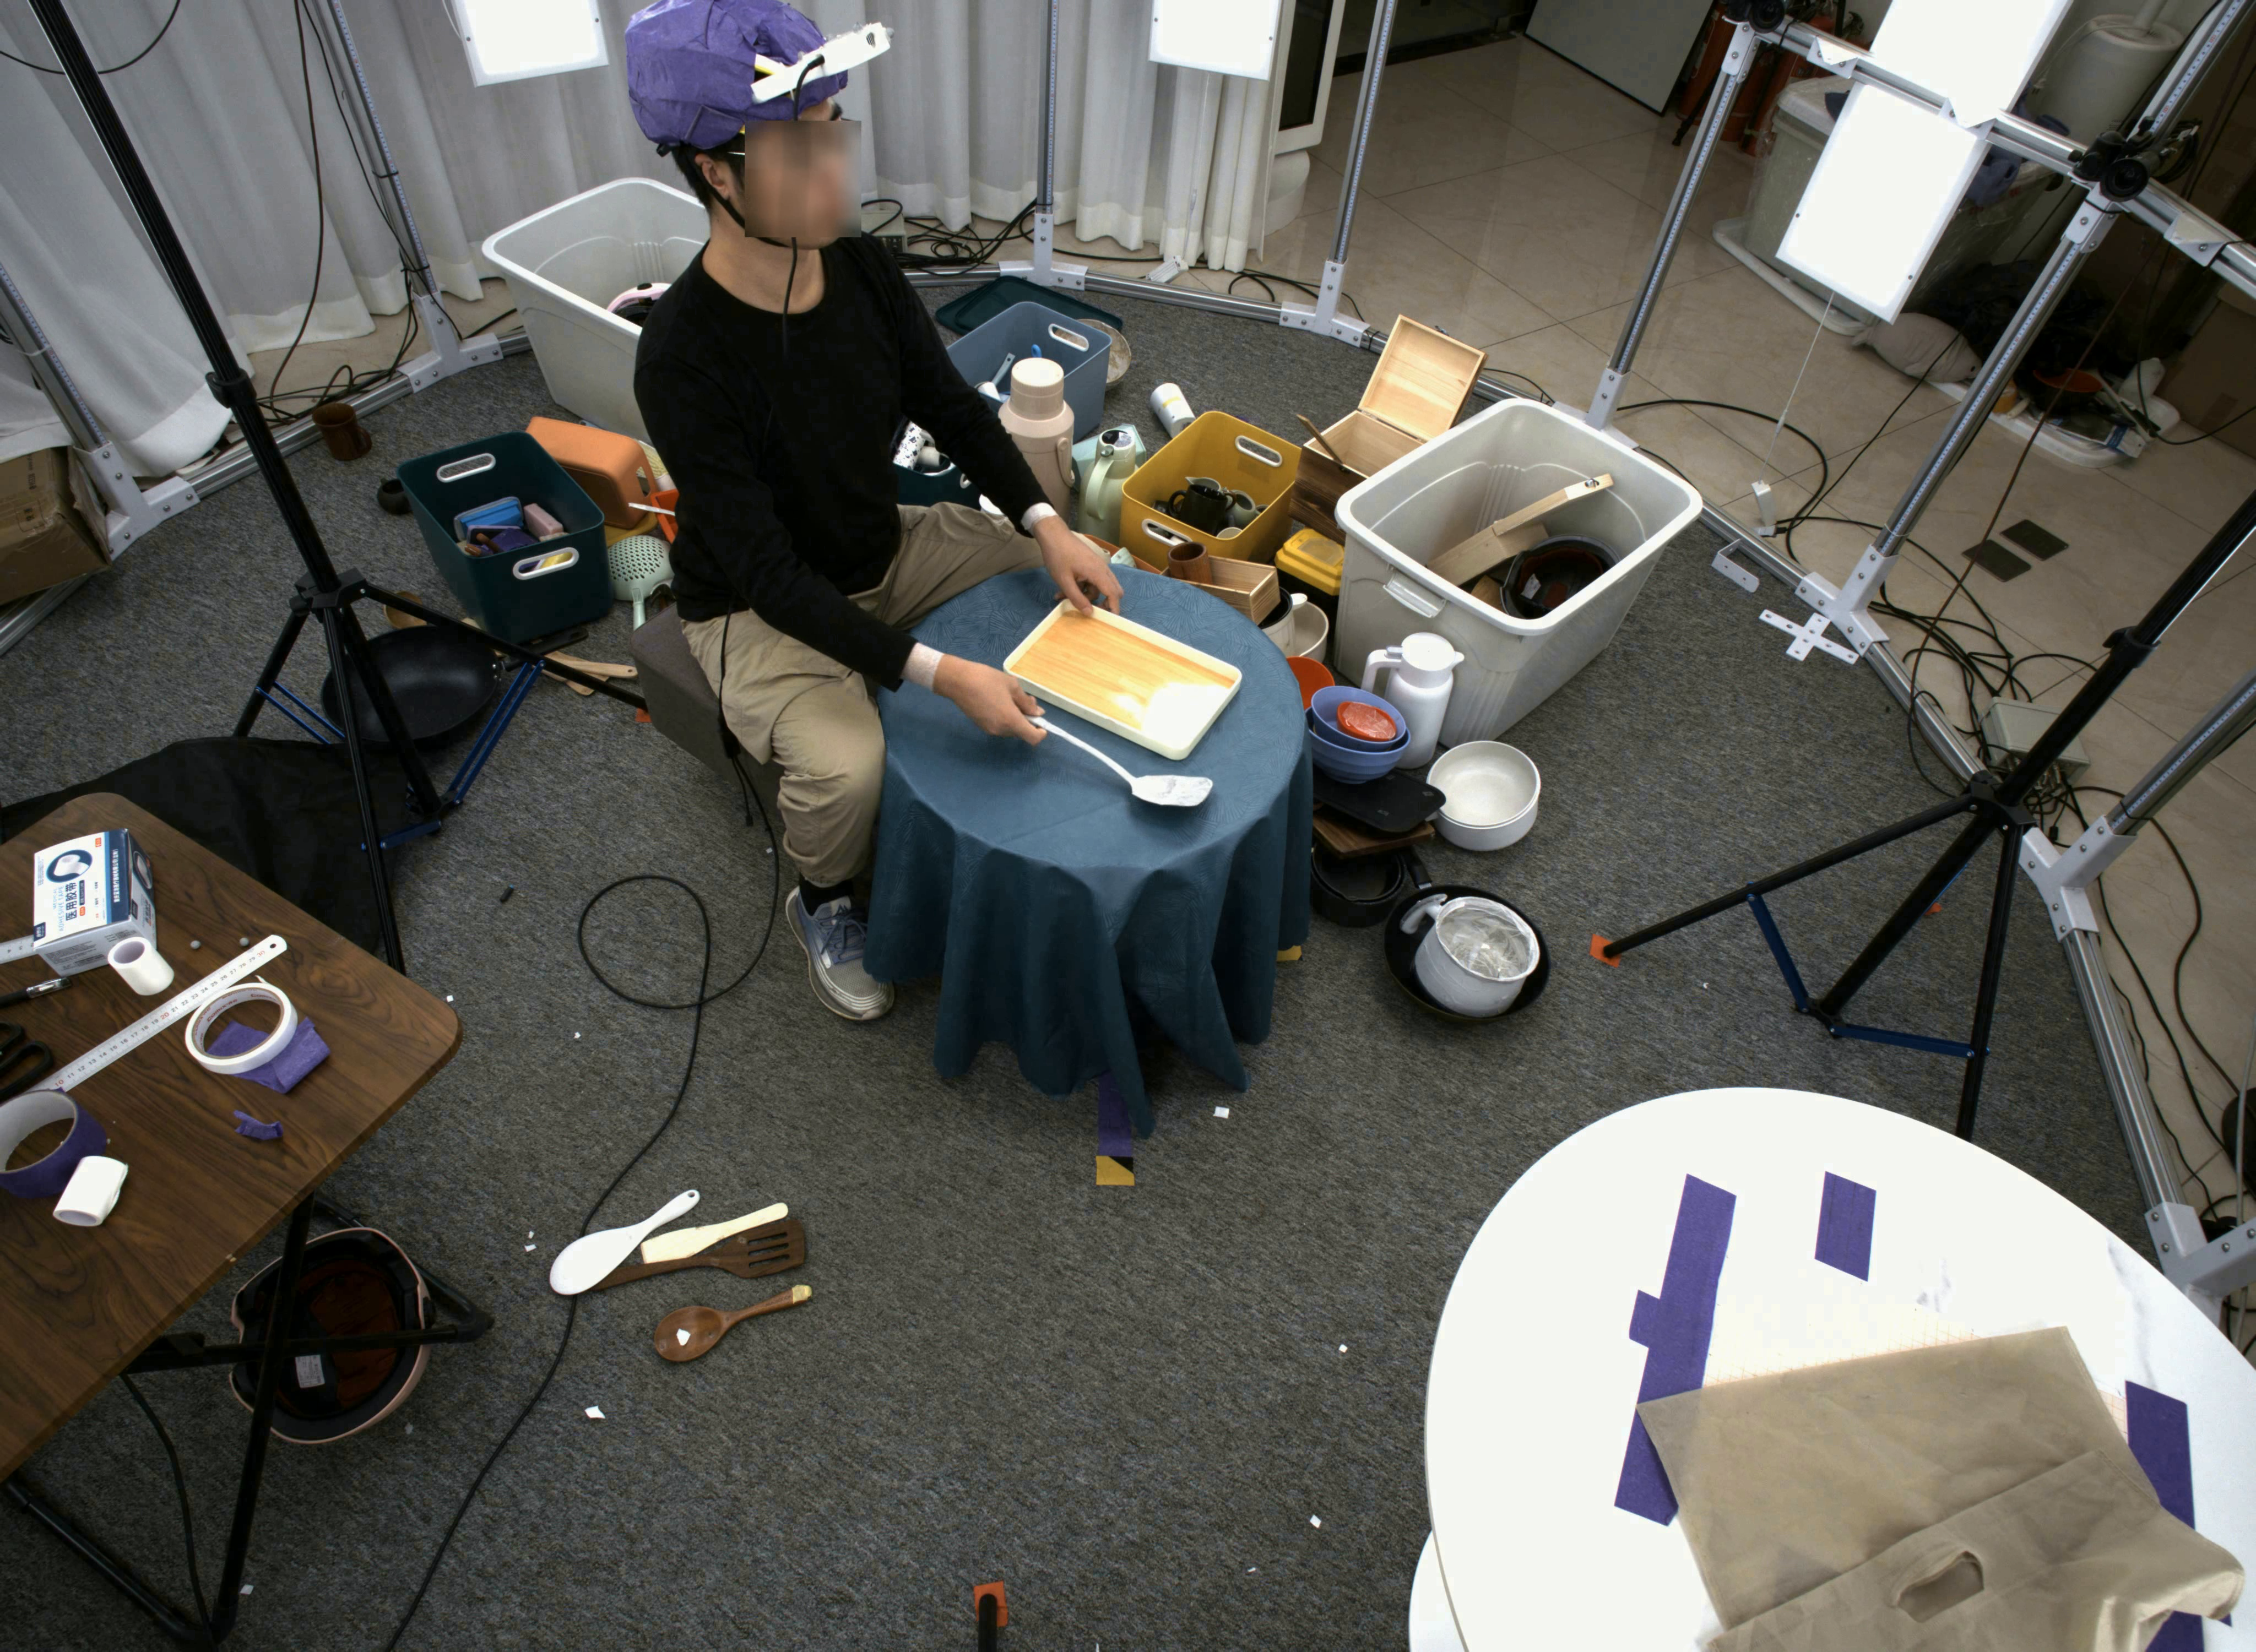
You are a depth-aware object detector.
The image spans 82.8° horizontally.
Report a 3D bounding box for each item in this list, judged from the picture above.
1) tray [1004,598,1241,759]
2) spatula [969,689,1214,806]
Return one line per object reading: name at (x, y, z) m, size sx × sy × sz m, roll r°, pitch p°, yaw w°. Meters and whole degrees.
tray at (-0.008, -0.216, 1.839) m, size 0.303 × 0.027 × 0.194 m, roll 26°, pitch 52°, yaw 18°
spatula at (-0.057, -0.112, 1.710) m, size 0.367 × 0.044 × 0.100 m, roll 29°, pitch 31°, yaw 10°
